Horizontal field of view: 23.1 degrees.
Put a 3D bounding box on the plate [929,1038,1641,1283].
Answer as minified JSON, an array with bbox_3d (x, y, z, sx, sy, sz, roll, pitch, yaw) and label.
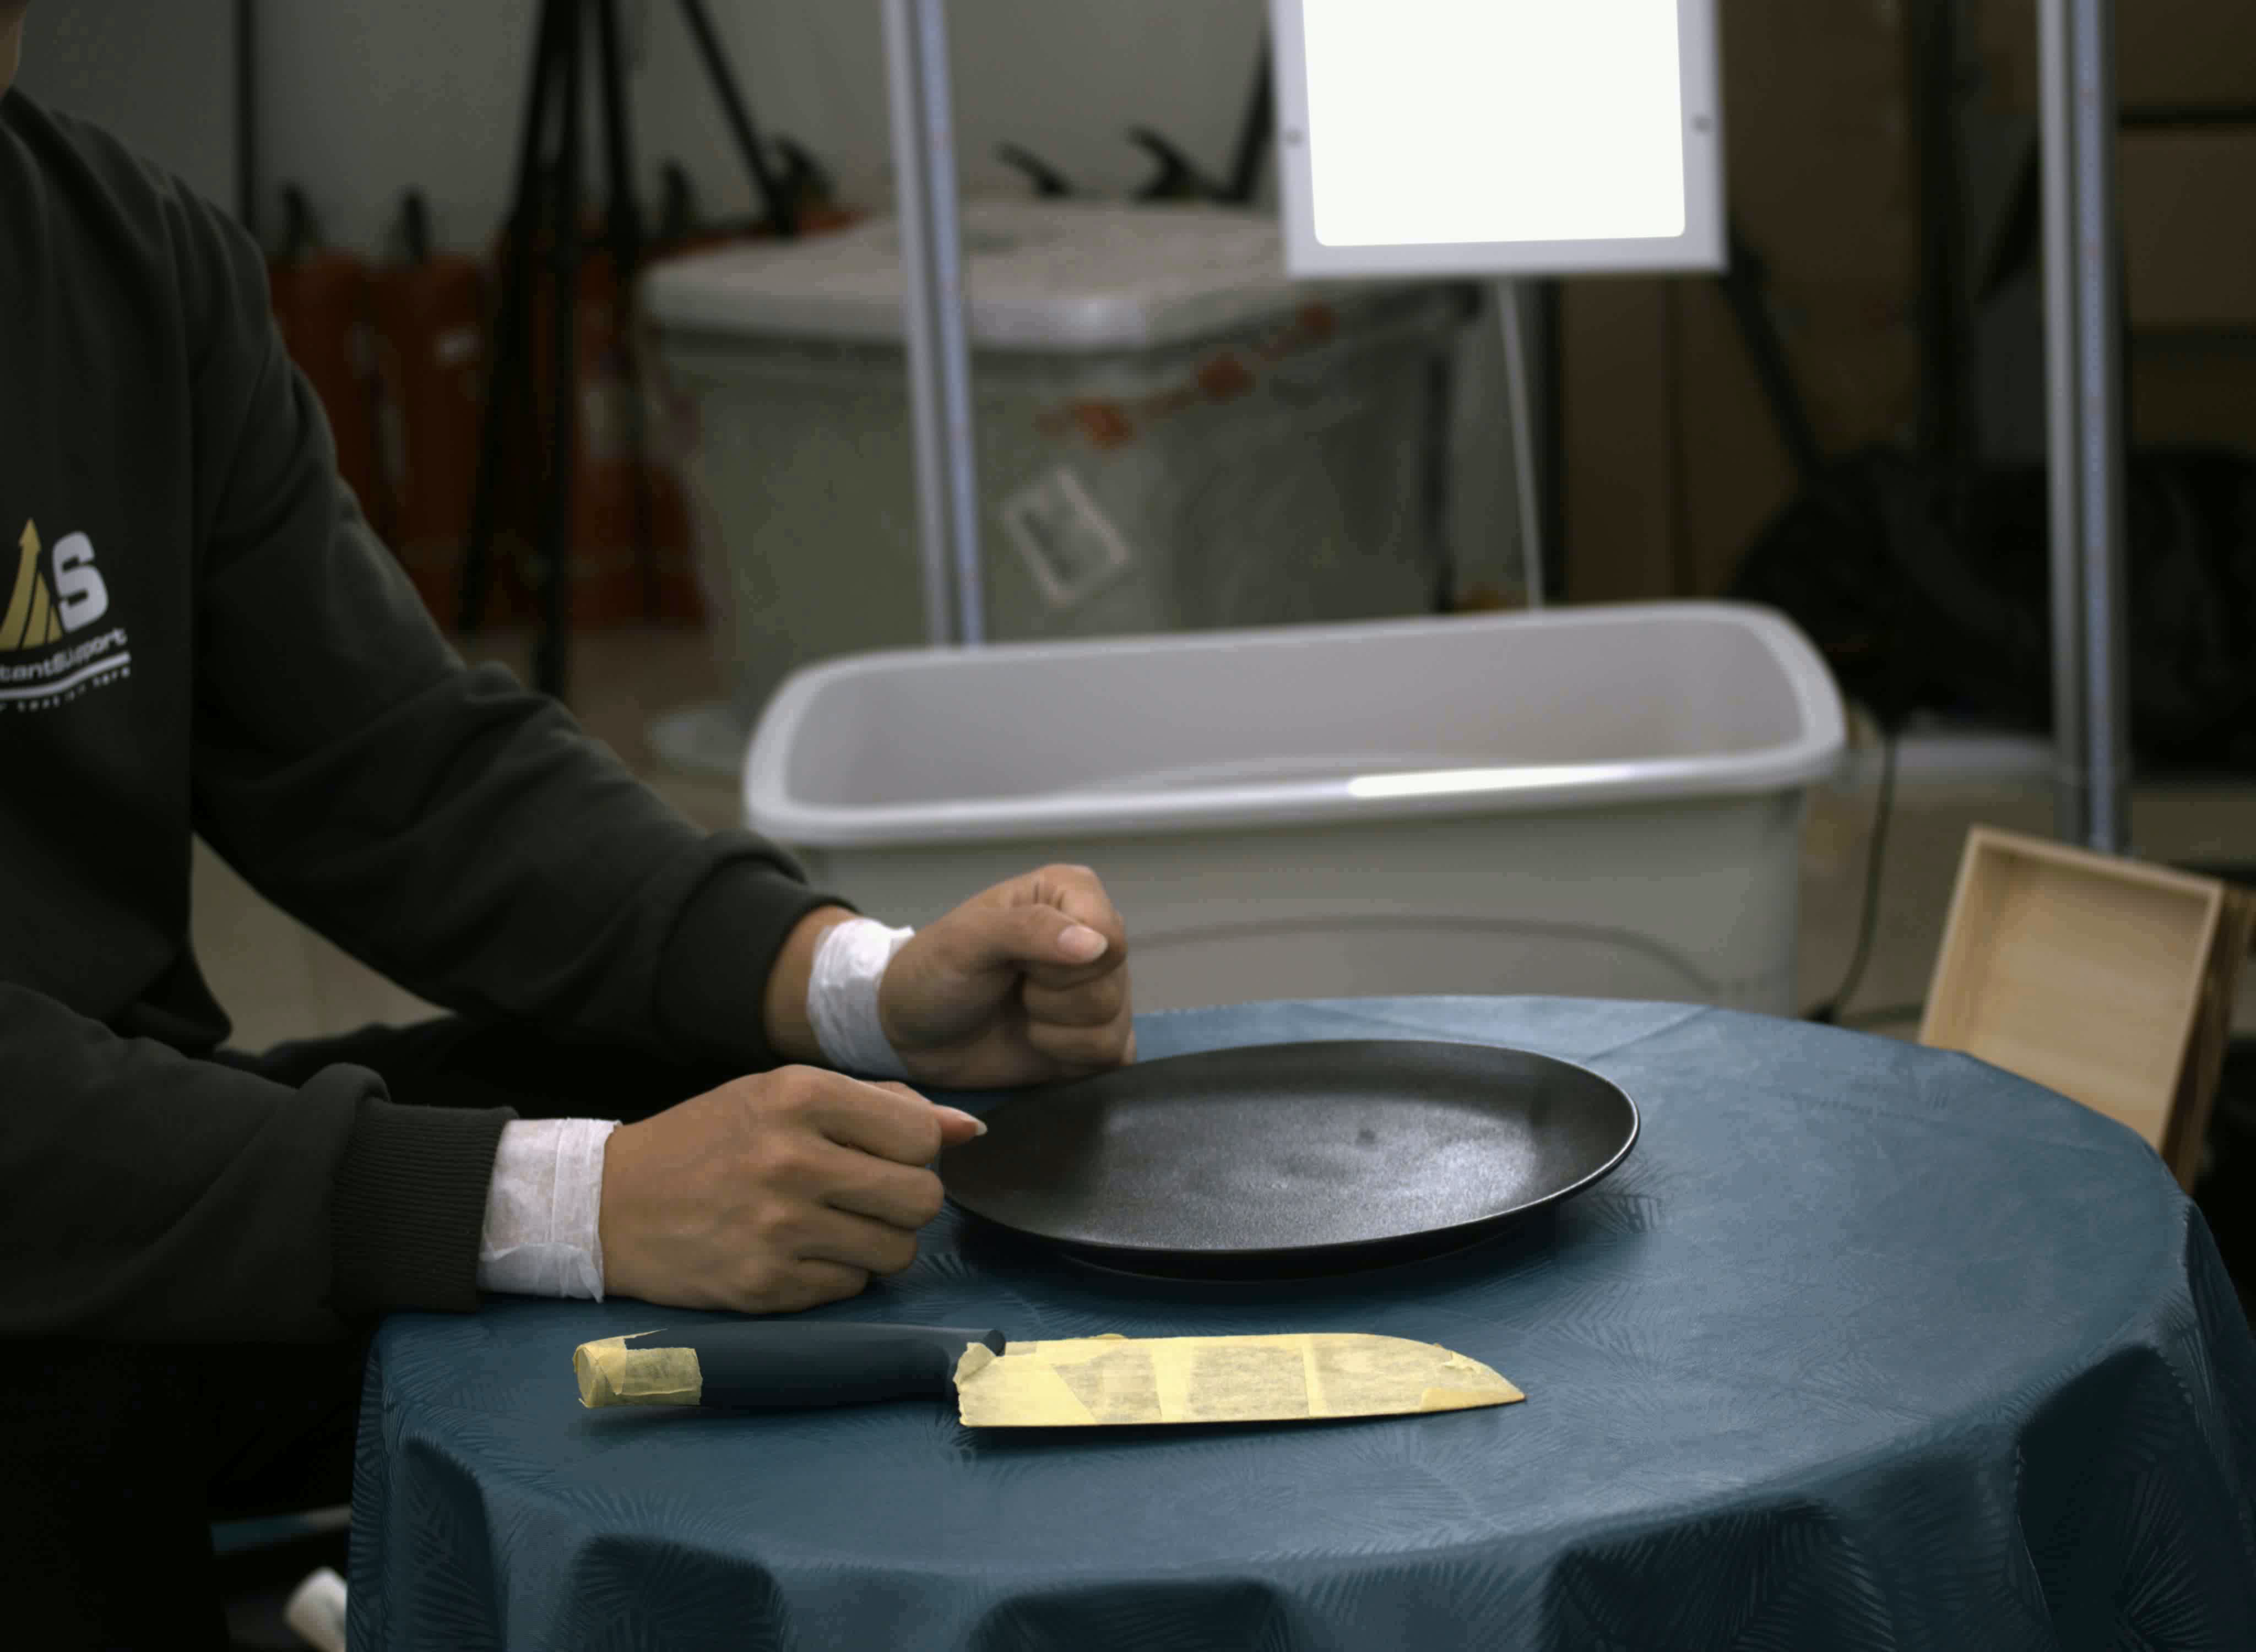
[{"bbox_3d":[0.054,0.116,1.876,0.244,0.023,0.244,-5,14,0],"label":"plate"}]

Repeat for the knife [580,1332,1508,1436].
[{"bbox_3d":[-0.027,0.173,1.694,0.290,0.027,0.080,-3,12,5],"label":"knife"}]
